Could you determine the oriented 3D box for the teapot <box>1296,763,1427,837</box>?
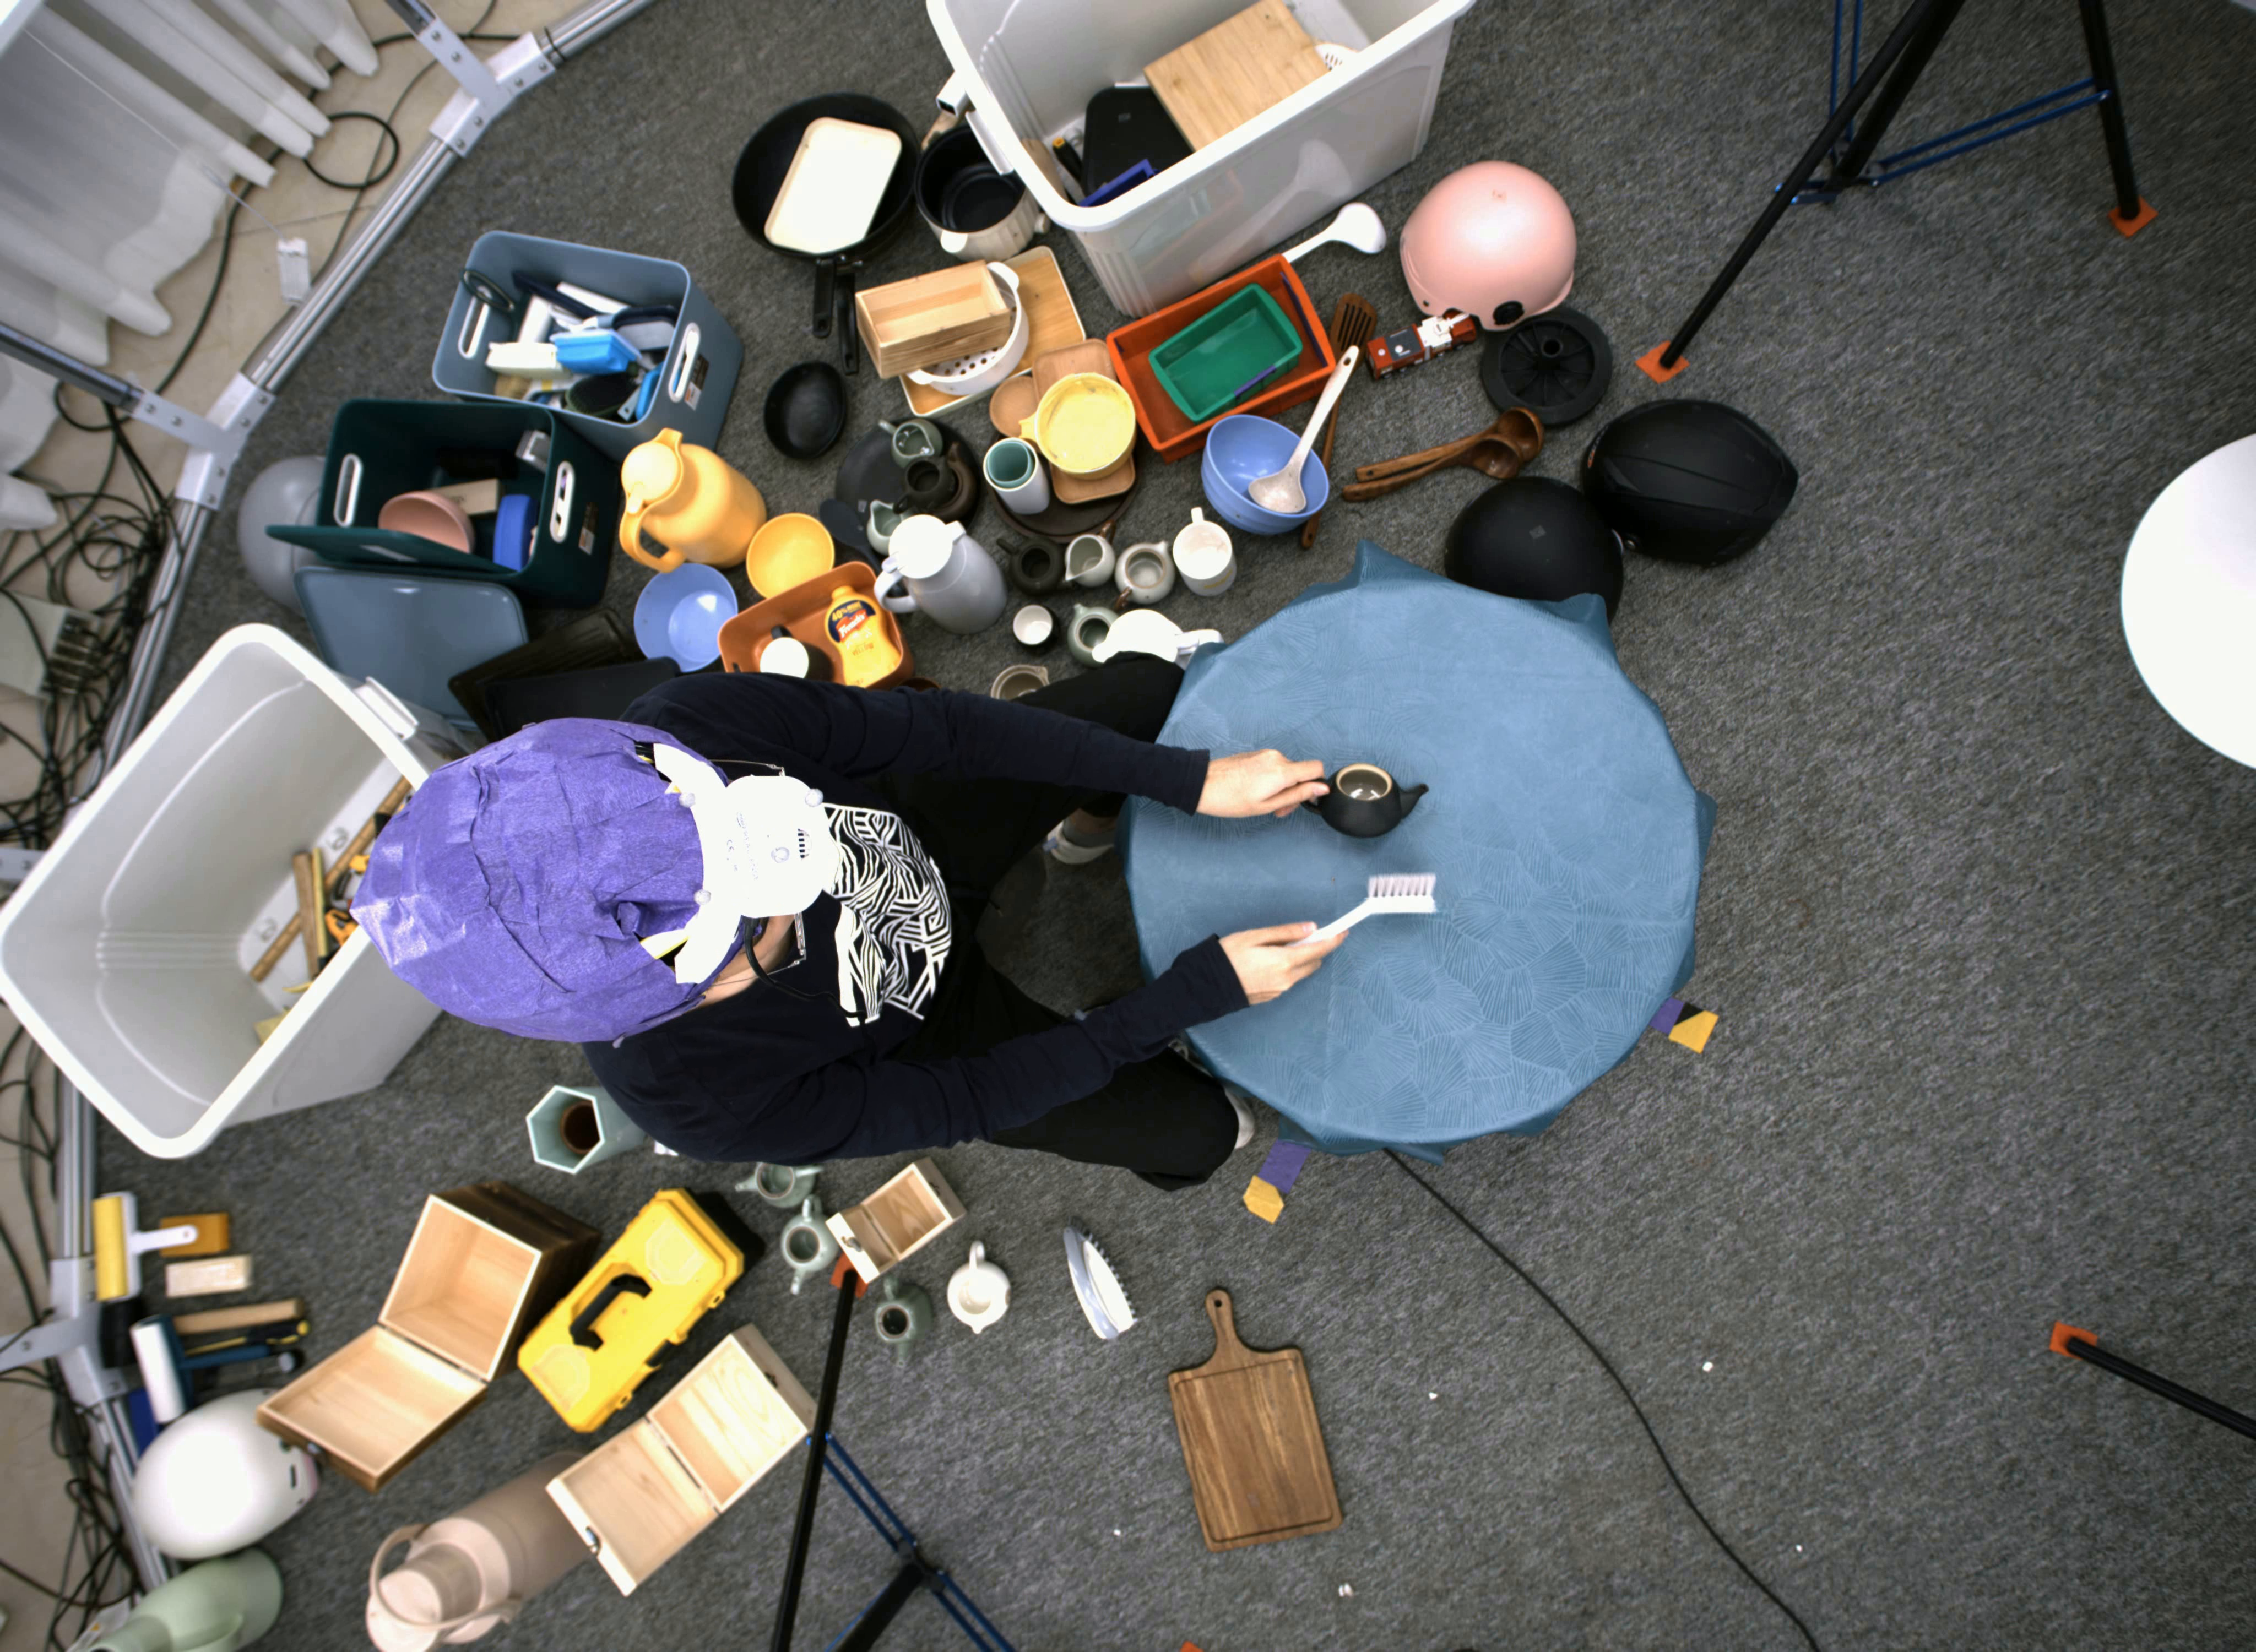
[{"bbox_3d":[0.239,-0.028,1.425,0.133,0.054,0.088,3,44,4],"label":"teapot"}]

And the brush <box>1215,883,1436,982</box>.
[{"bbox_3d":[0.198,0.102,1.411,0.245,0.034,0.050,-19,89,10],"label":"brush"}]
